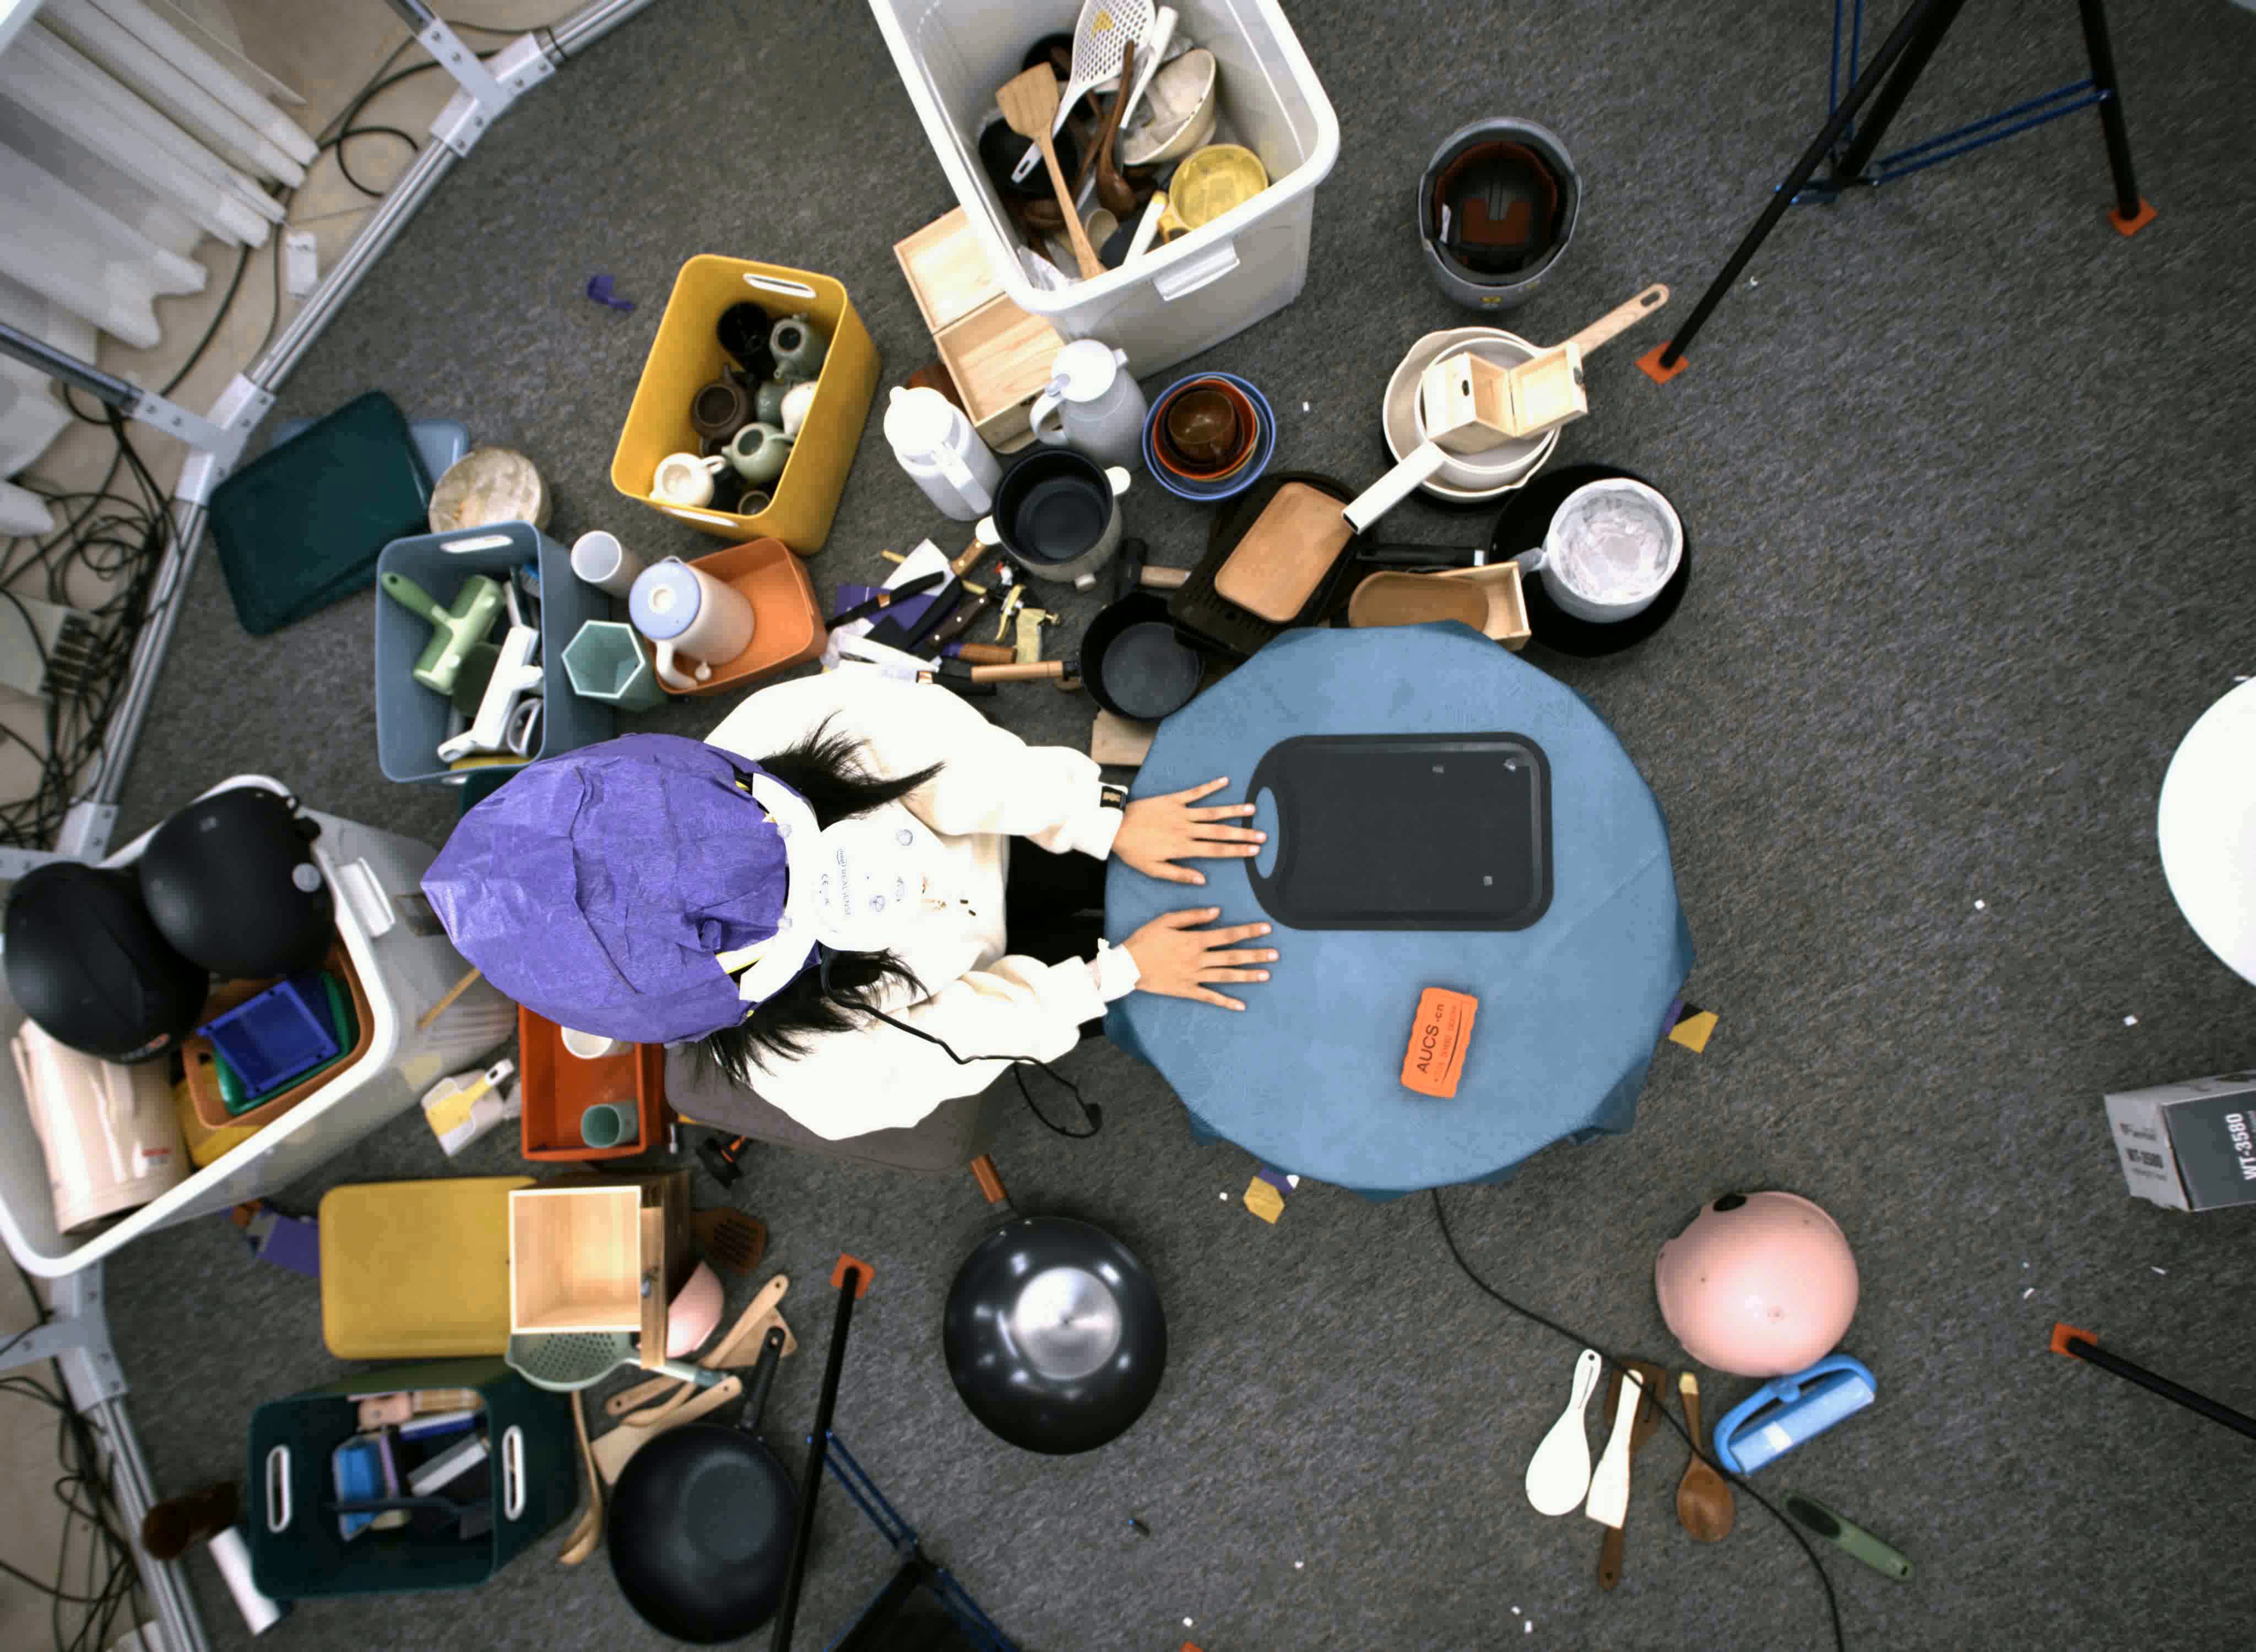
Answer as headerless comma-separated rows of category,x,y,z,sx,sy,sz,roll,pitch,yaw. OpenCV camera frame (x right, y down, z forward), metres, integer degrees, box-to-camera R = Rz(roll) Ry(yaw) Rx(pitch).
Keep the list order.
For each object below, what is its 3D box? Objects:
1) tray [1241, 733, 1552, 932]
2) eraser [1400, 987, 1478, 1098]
tray,0.282,0.004,1.459,0.327,0.010,0.210,0,87,11
eraser,0.322,0.222,1.430,0.059,0.023,0.108,15,89,10
